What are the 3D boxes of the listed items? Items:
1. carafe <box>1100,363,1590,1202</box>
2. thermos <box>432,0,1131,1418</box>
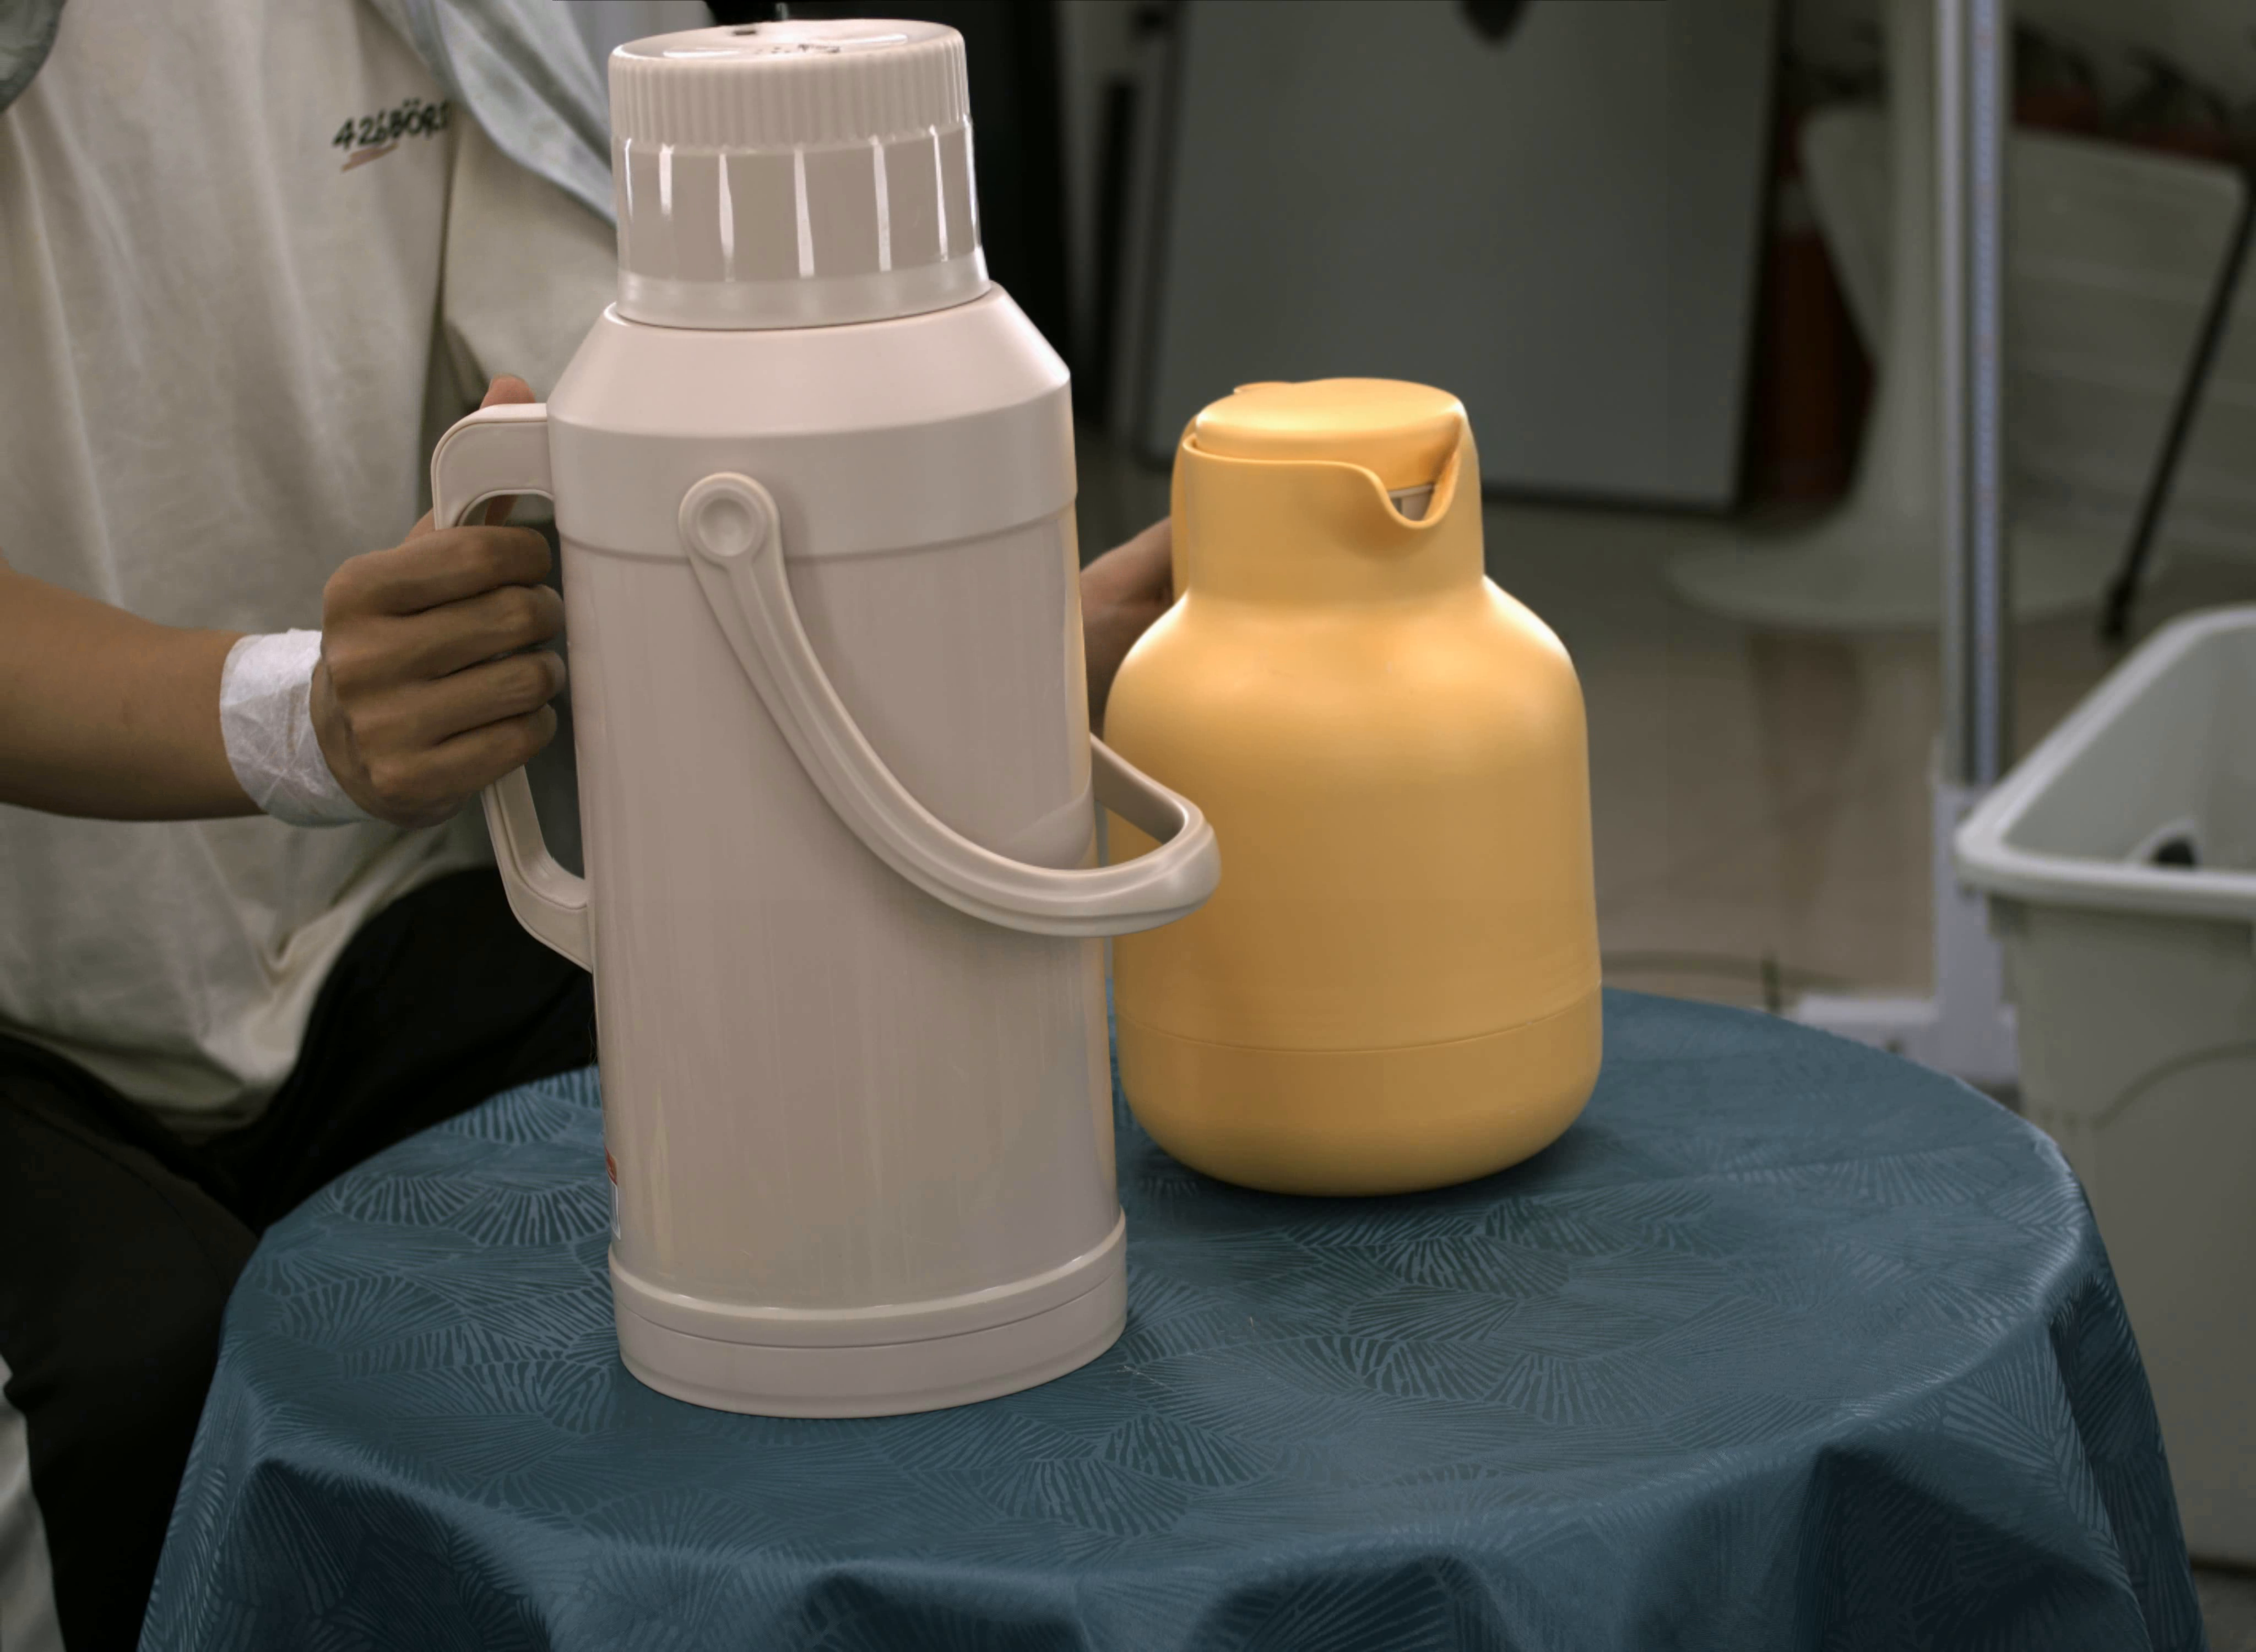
[{"bbox_3d":[0.065,-0.022,1.790,0.160,0.263,0.204,-6,15,-17],"label":"carafe"},{"bbox_3d":[-0.103,-0.039,1.616,0.206,0.411,0.174,1,15,15],"label":"thermos"}]
